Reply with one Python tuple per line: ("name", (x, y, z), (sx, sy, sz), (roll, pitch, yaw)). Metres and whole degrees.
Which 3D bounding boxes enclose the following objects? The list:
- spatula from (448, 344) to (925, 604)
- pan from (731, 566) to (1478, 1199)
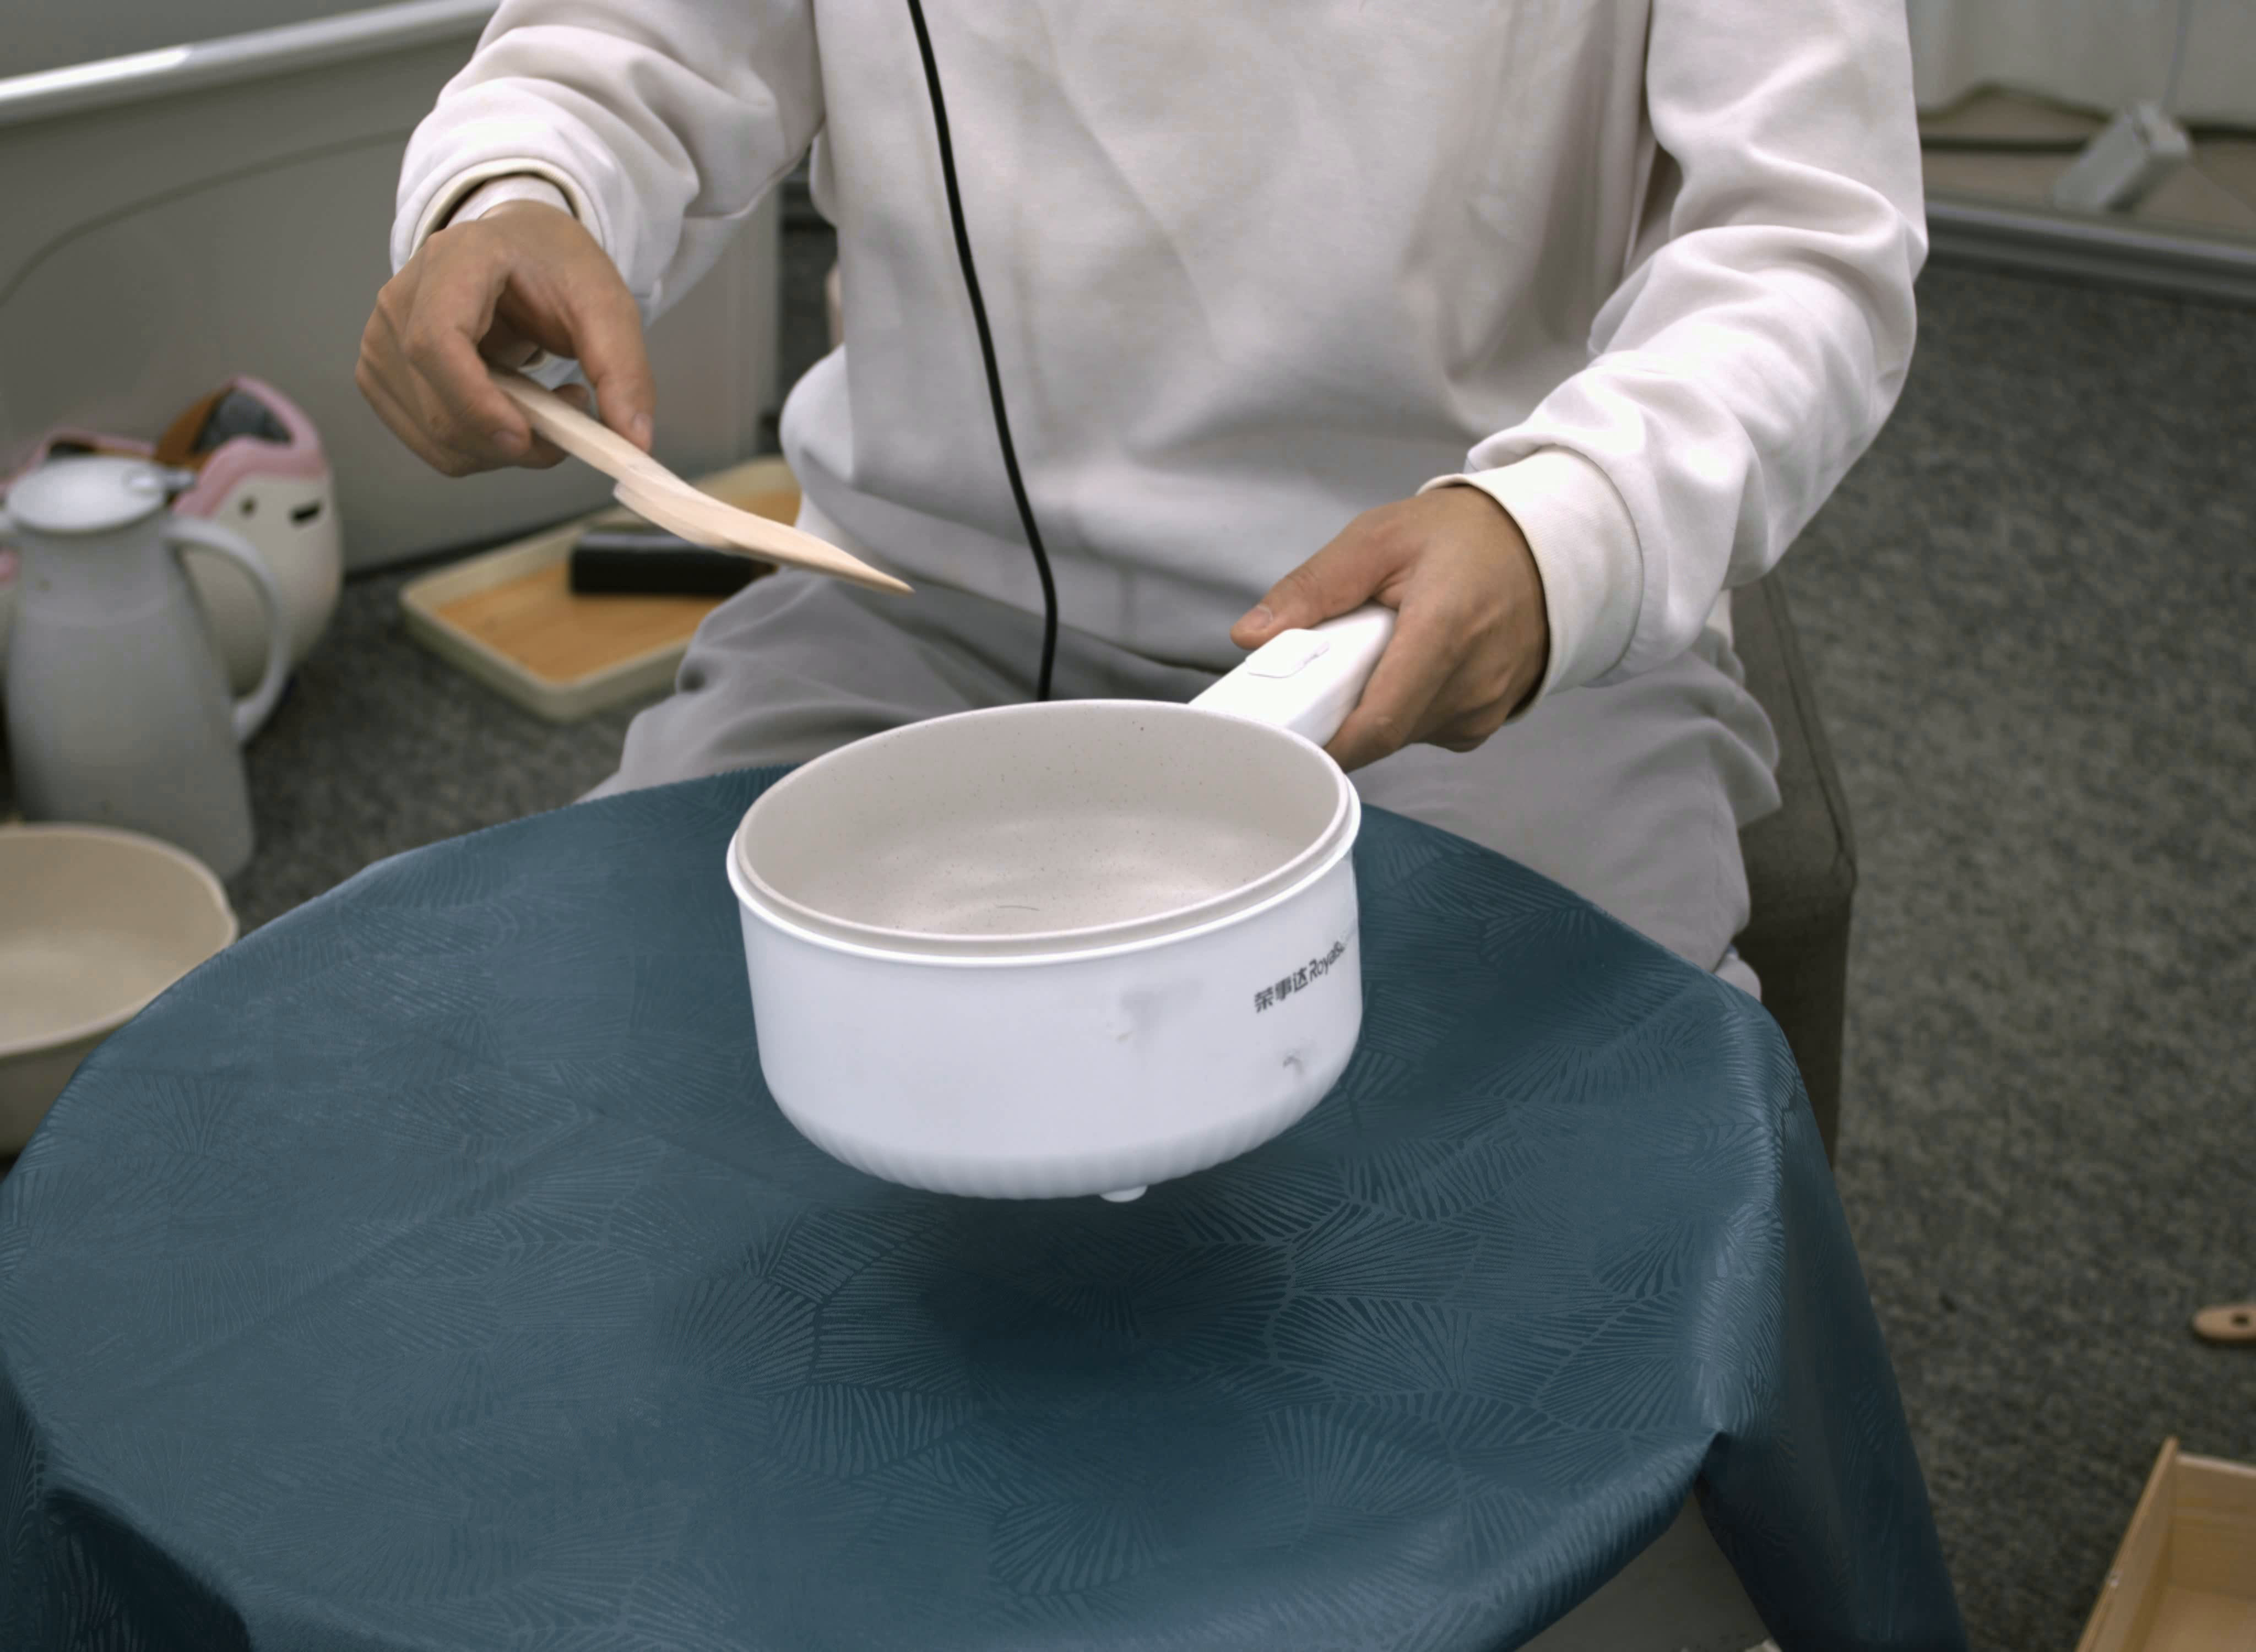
("spatula", (-0.159, -0.119, 1.841), (0.072, 0.010, 0.294), (13, 11, -33))
("pan", (0.017, 0.015, 1.853), (0.200, 0.101, 0.360), (7, 24, 30))
